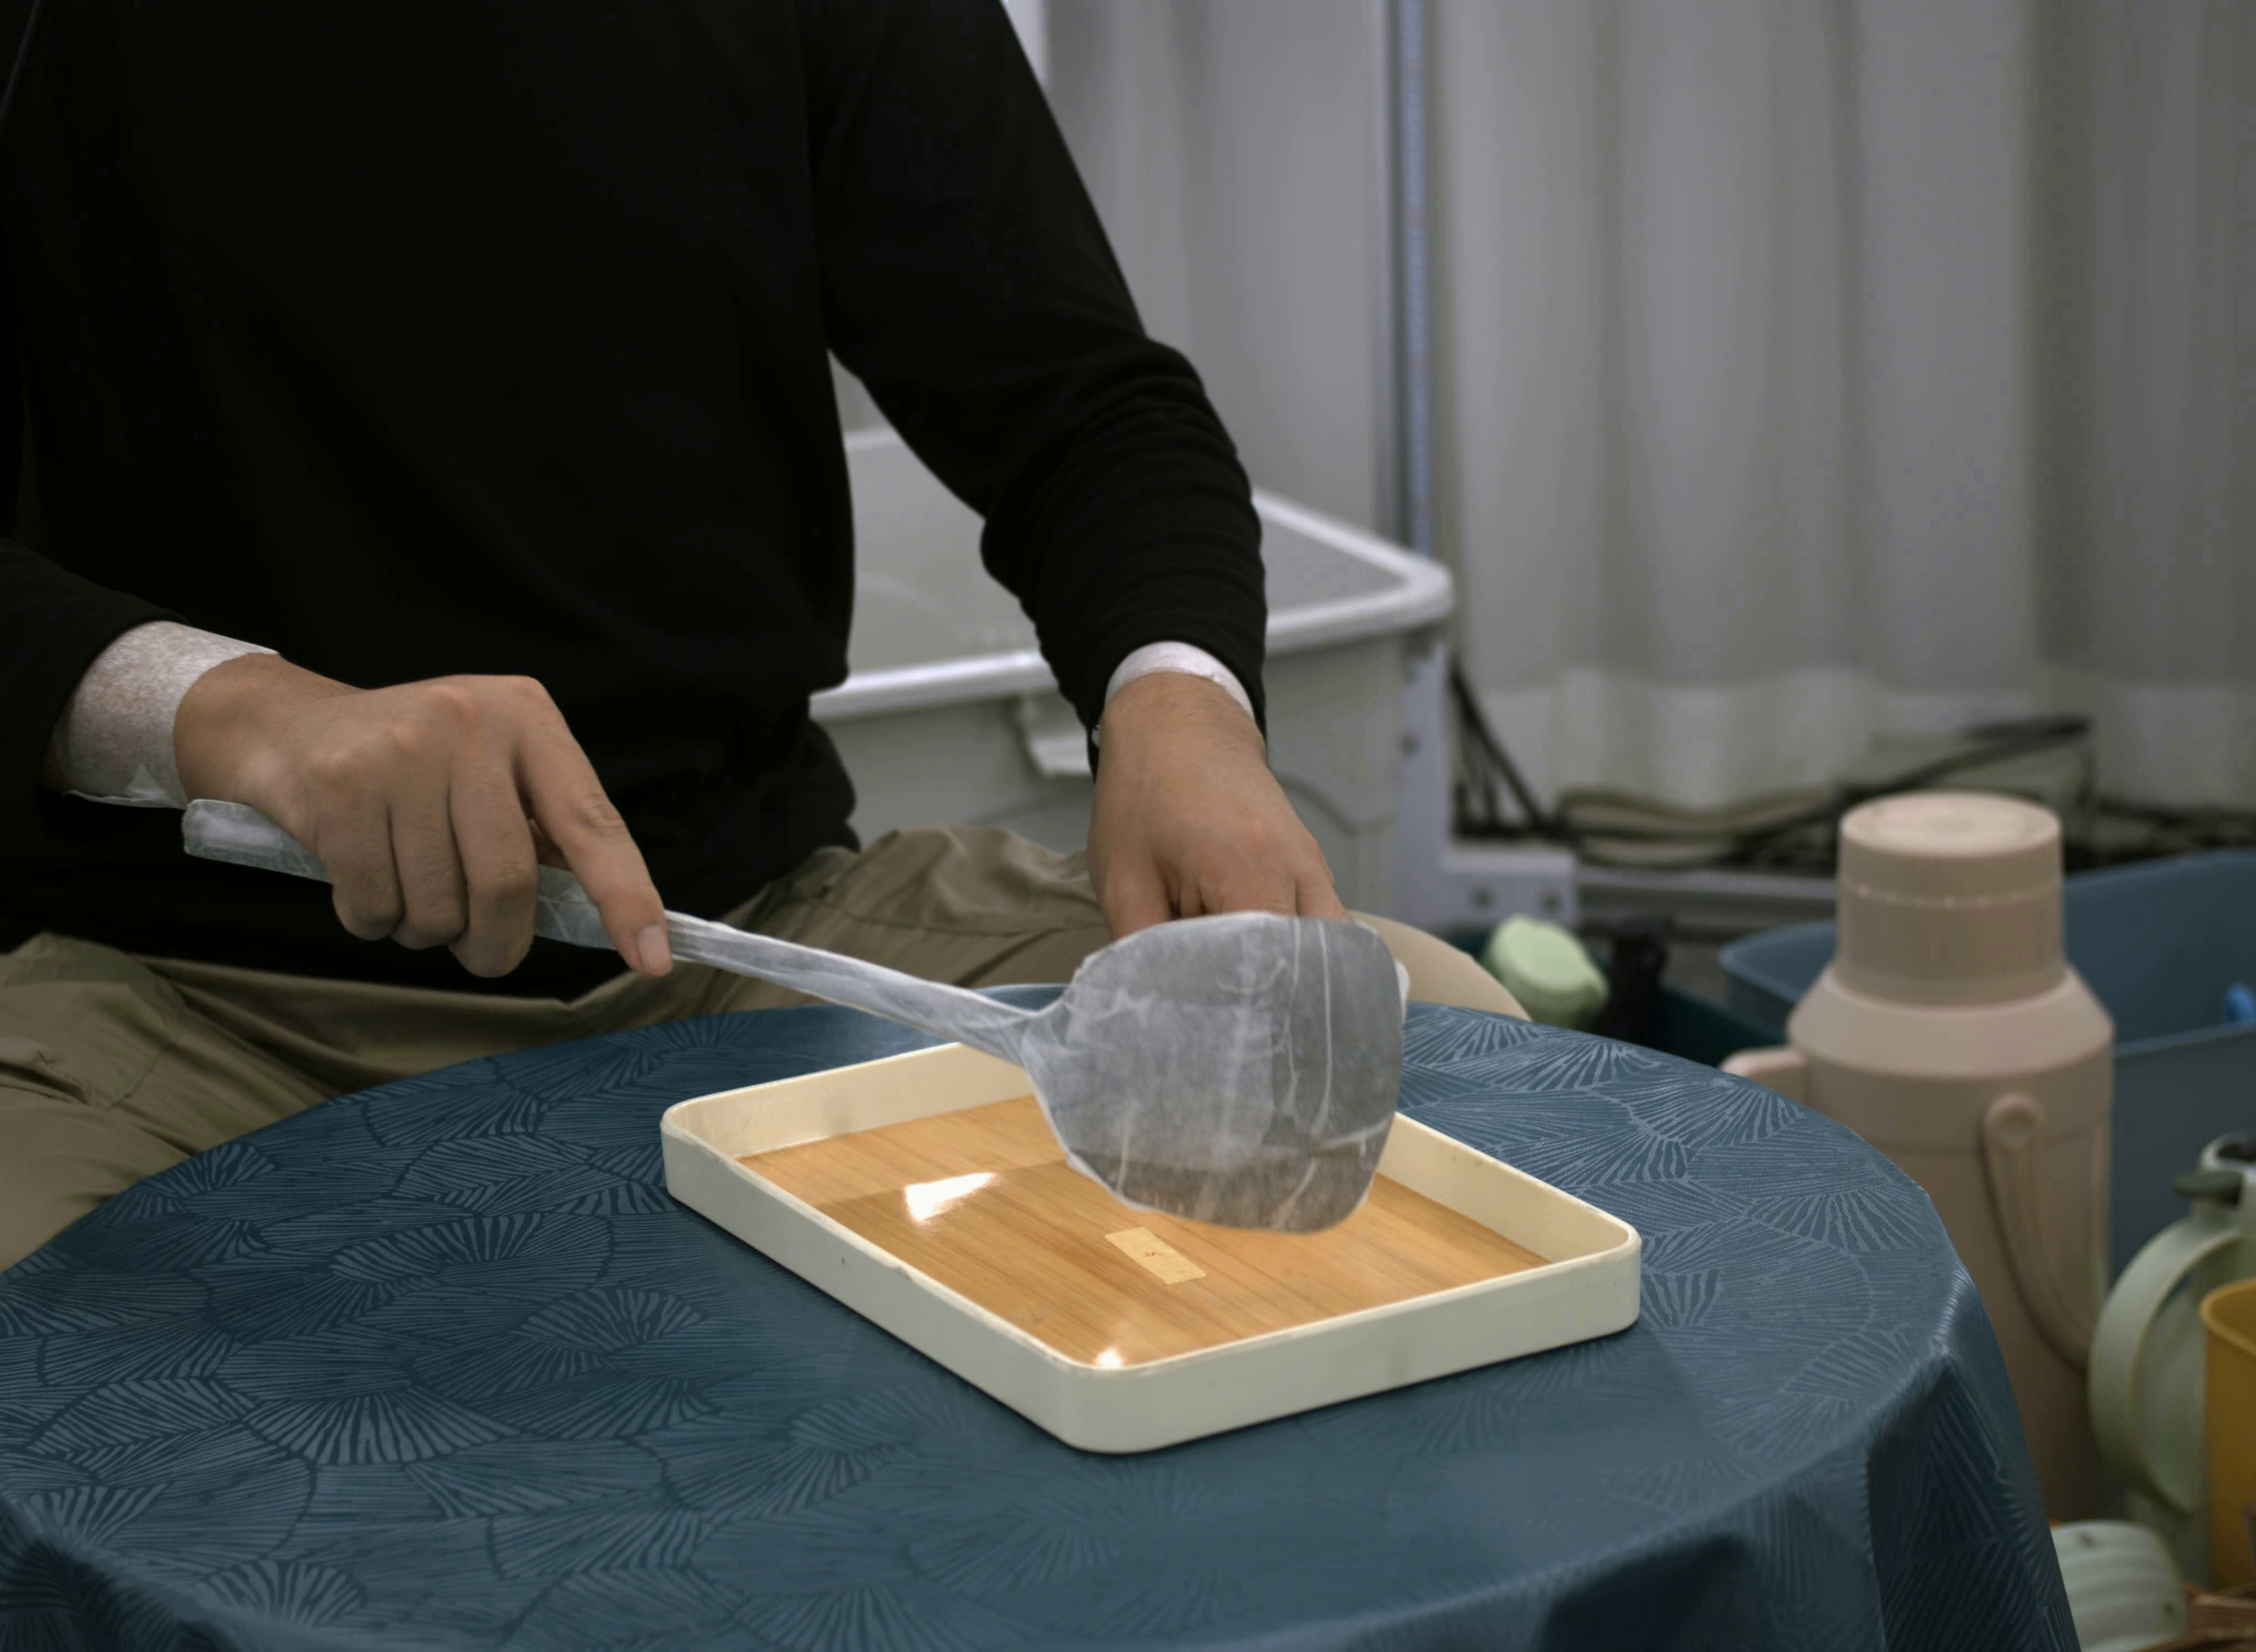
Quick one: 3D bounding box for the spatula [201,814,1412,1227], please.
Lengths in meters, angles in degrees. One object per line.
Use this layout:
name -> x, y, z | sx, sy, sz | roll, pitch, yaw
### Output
spatula -> -0.097, 0.038, 1.592 | 0.365, 0.098, 0.045 | 14, 19, 16

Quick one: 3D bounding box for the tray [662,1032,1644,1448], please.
tray -> 0.001, 0.117, 1.654 | 0.191, 0.027, 0.302 | -11, 17, -27
